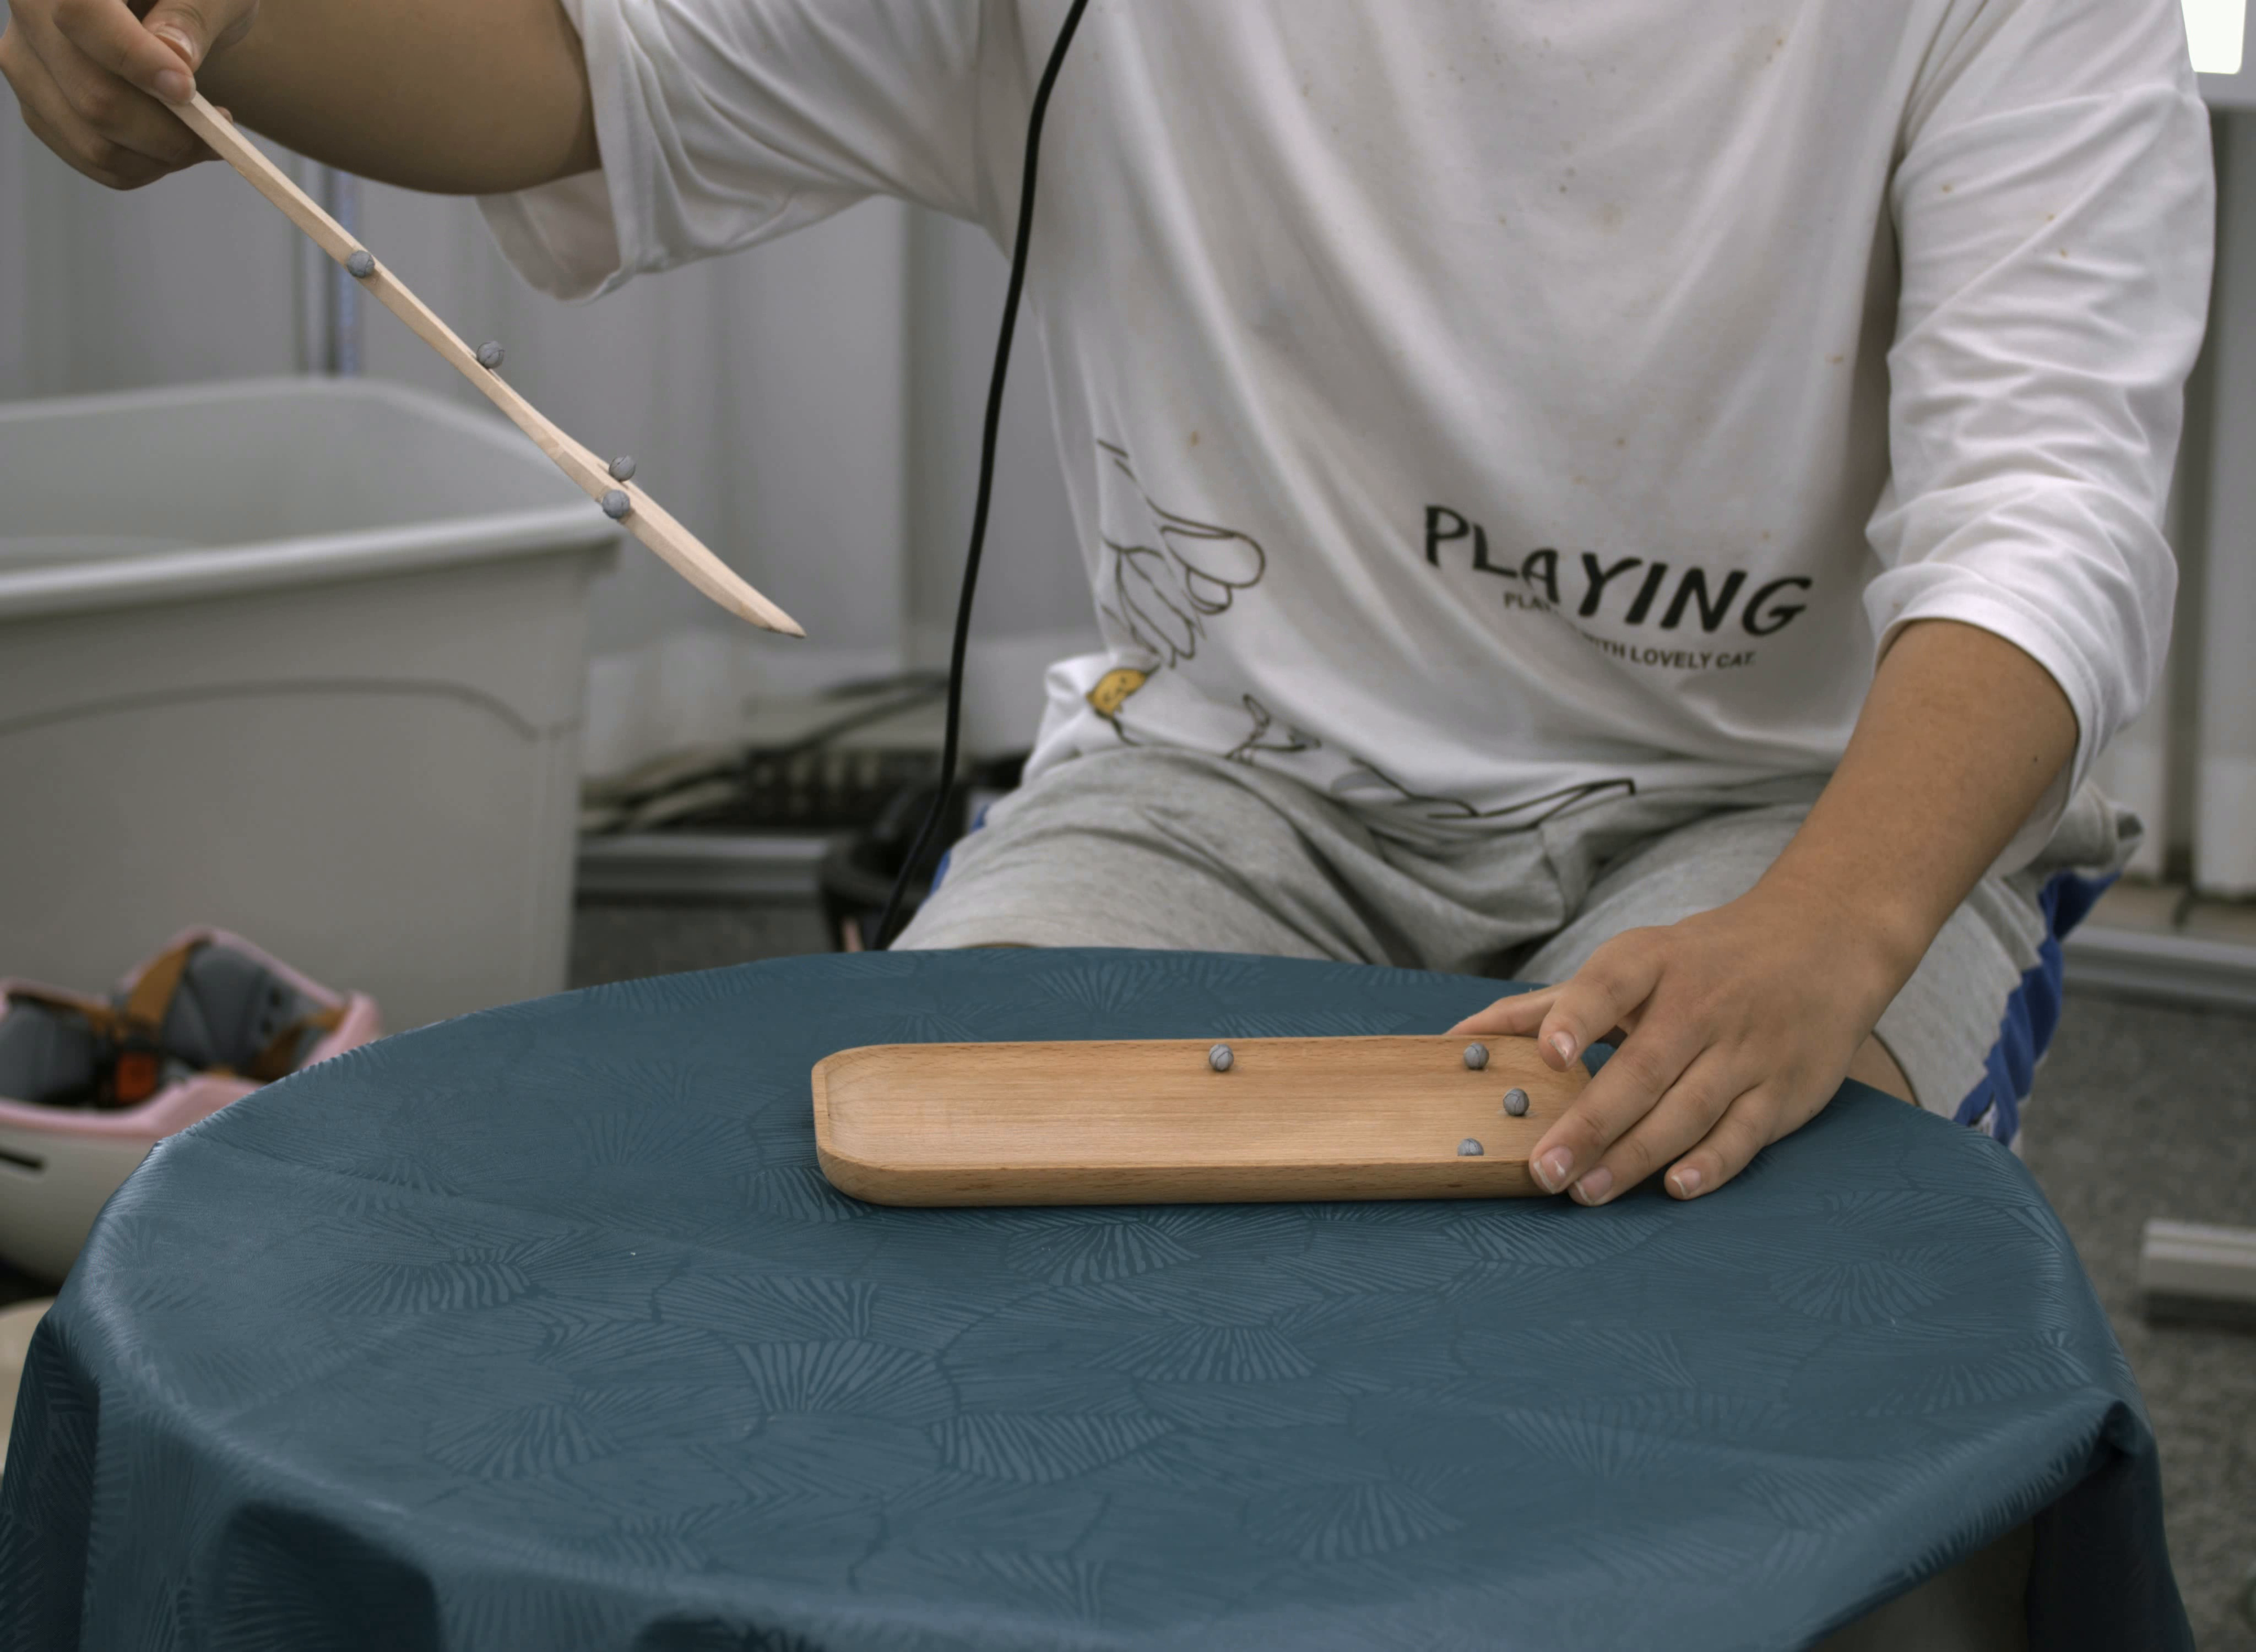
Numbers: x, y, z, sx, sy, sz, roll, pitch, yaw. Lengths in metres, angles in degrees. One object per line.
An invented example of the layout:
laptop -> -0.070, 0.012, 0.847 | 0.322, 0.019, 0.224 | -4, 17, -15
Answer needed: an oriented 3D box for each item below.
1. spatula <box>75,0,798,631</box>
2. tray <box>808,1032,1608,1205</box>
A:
spatula -> -0.216, -0.157, 1.621 | 0.292, 0.010, 0.072 | 42, 4, 3
tray -> 0.024, 0.093, 1.674 | 0.250, 0.023, 0.130 | -1, 13, -4
